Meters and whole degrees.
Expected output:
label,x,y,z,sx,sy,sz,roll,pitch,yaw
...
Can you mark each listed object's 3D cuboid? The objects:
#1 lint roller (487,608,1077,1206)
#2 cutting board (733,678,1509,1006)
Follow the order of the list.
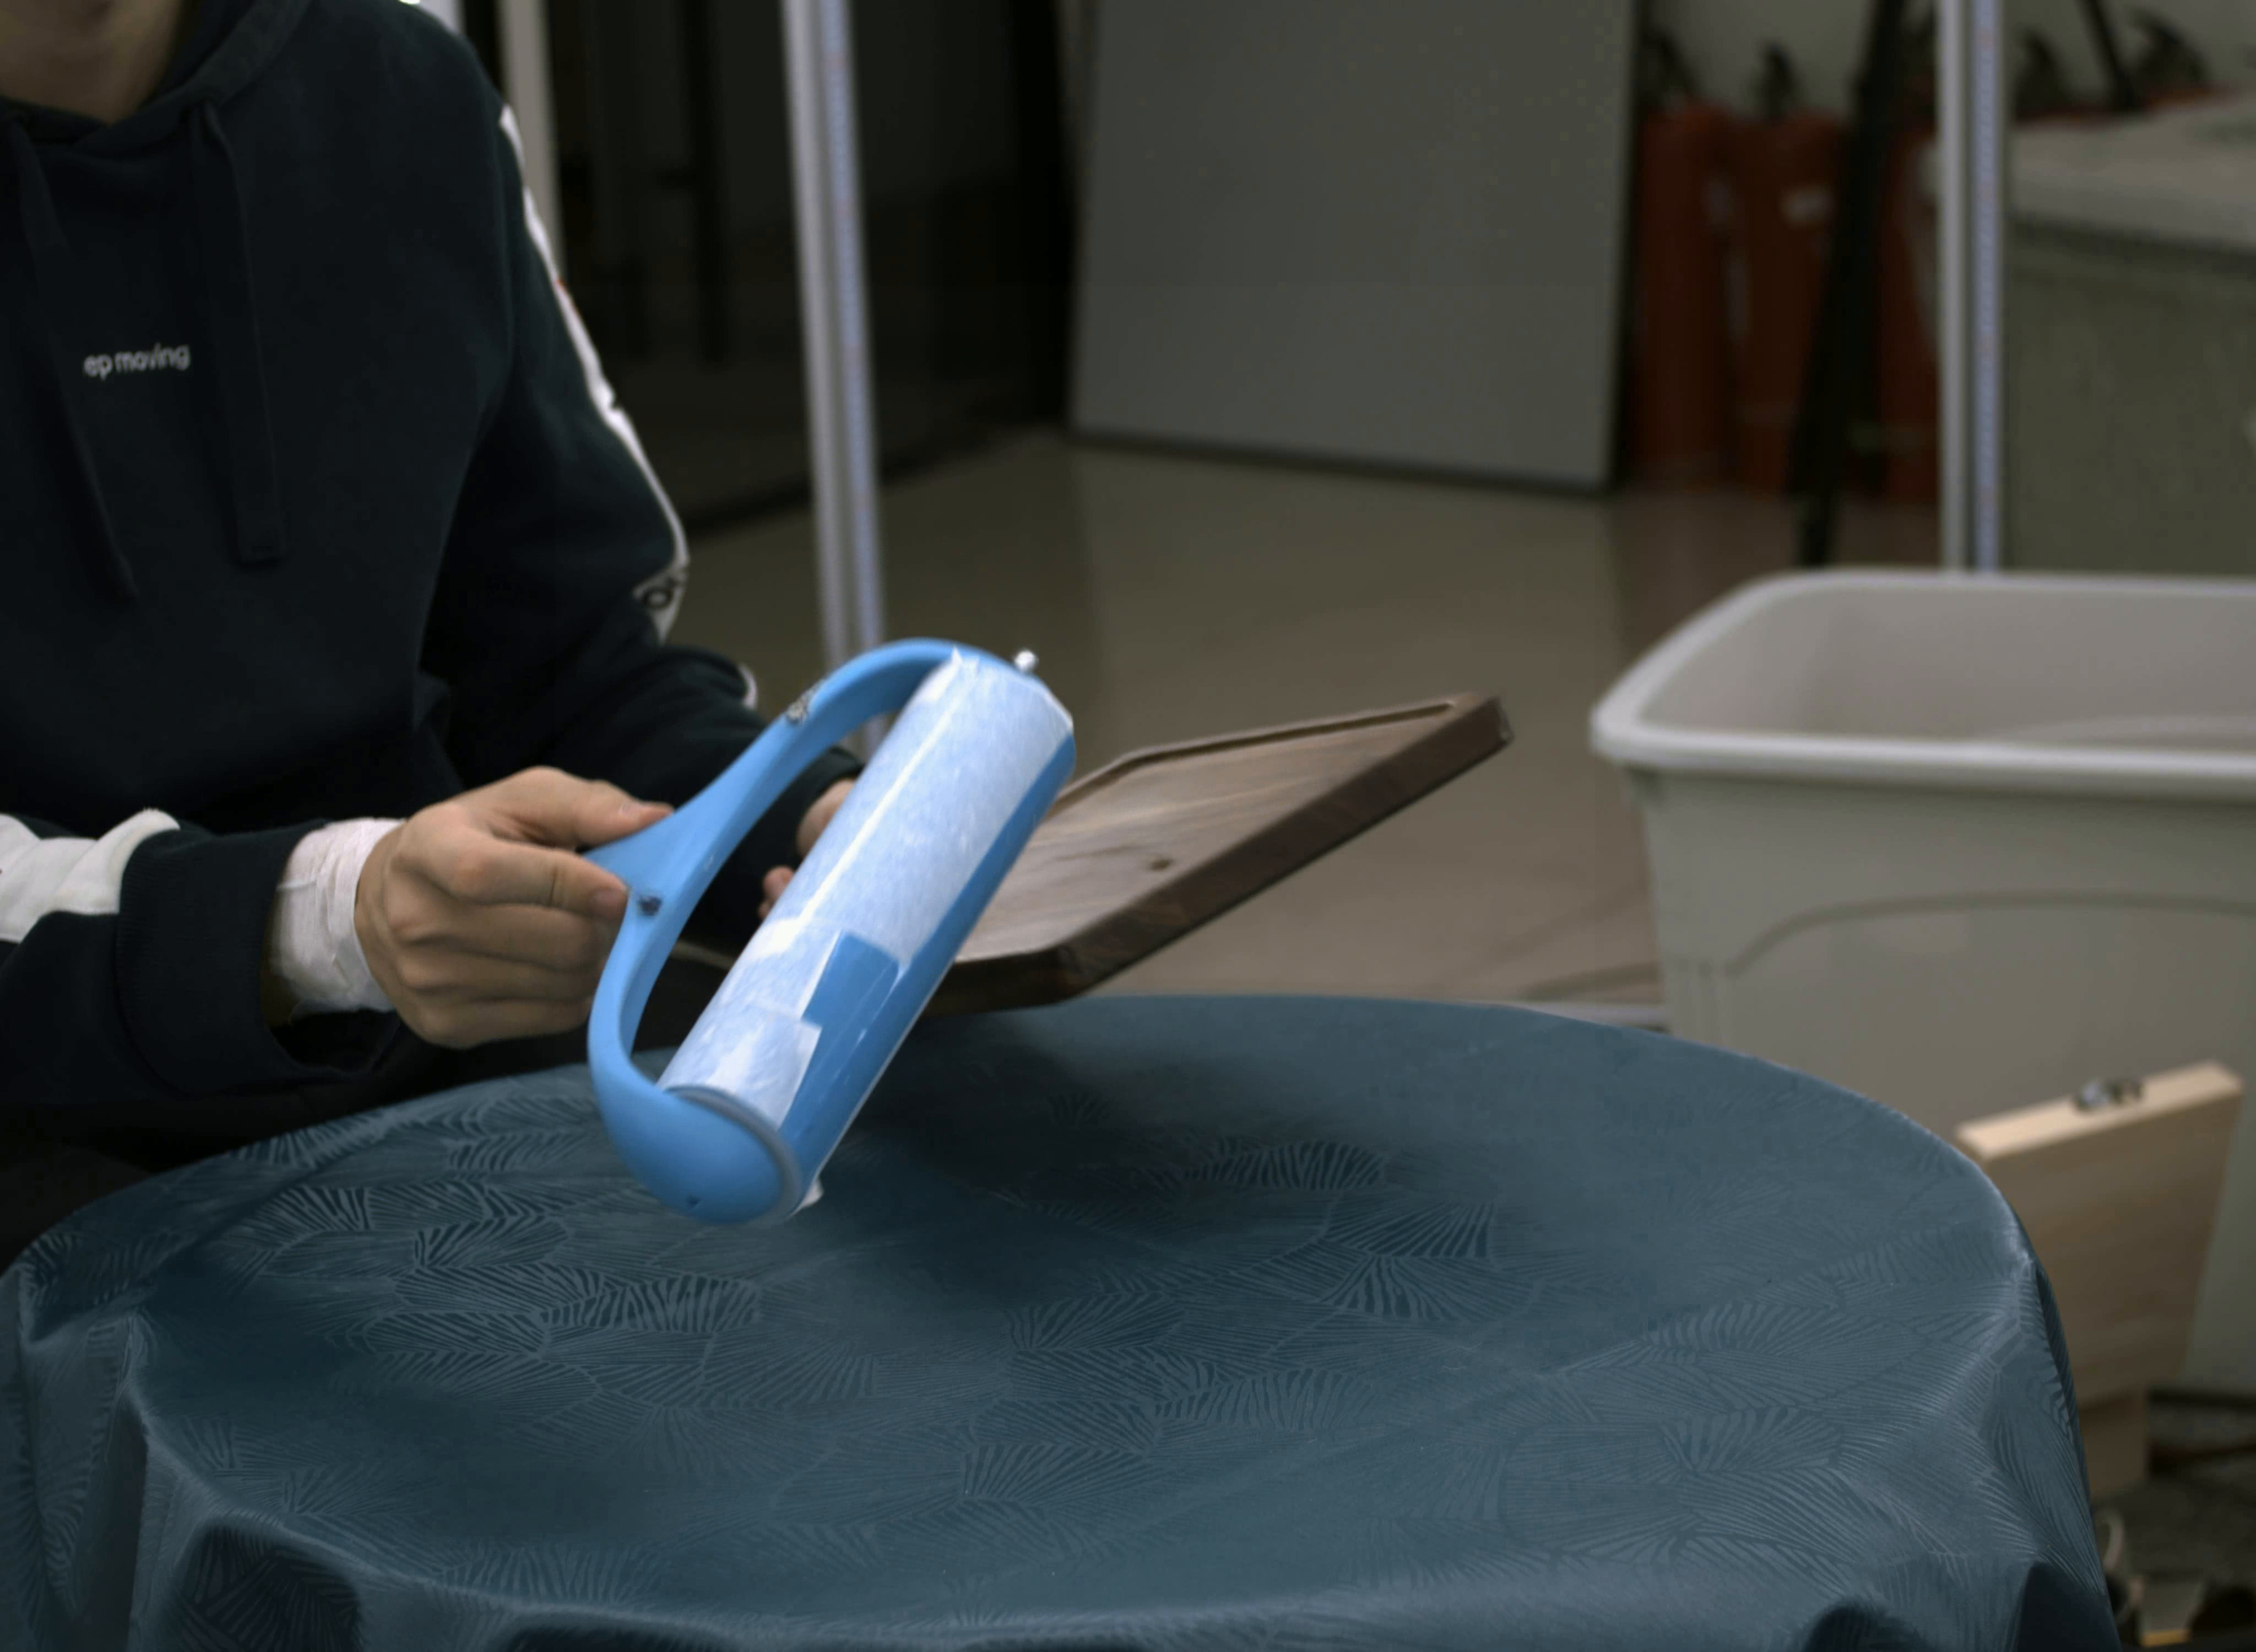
label,x,y,z,sx,sy,sz,roll,pitch,yaw
lint roller,-0.126,0.024,1.602,0.181,0.068,0.228,-3,41,29
cutting board,-0.035,0.017,1.846,0.198,0.023,0.355,-29,8,-28
